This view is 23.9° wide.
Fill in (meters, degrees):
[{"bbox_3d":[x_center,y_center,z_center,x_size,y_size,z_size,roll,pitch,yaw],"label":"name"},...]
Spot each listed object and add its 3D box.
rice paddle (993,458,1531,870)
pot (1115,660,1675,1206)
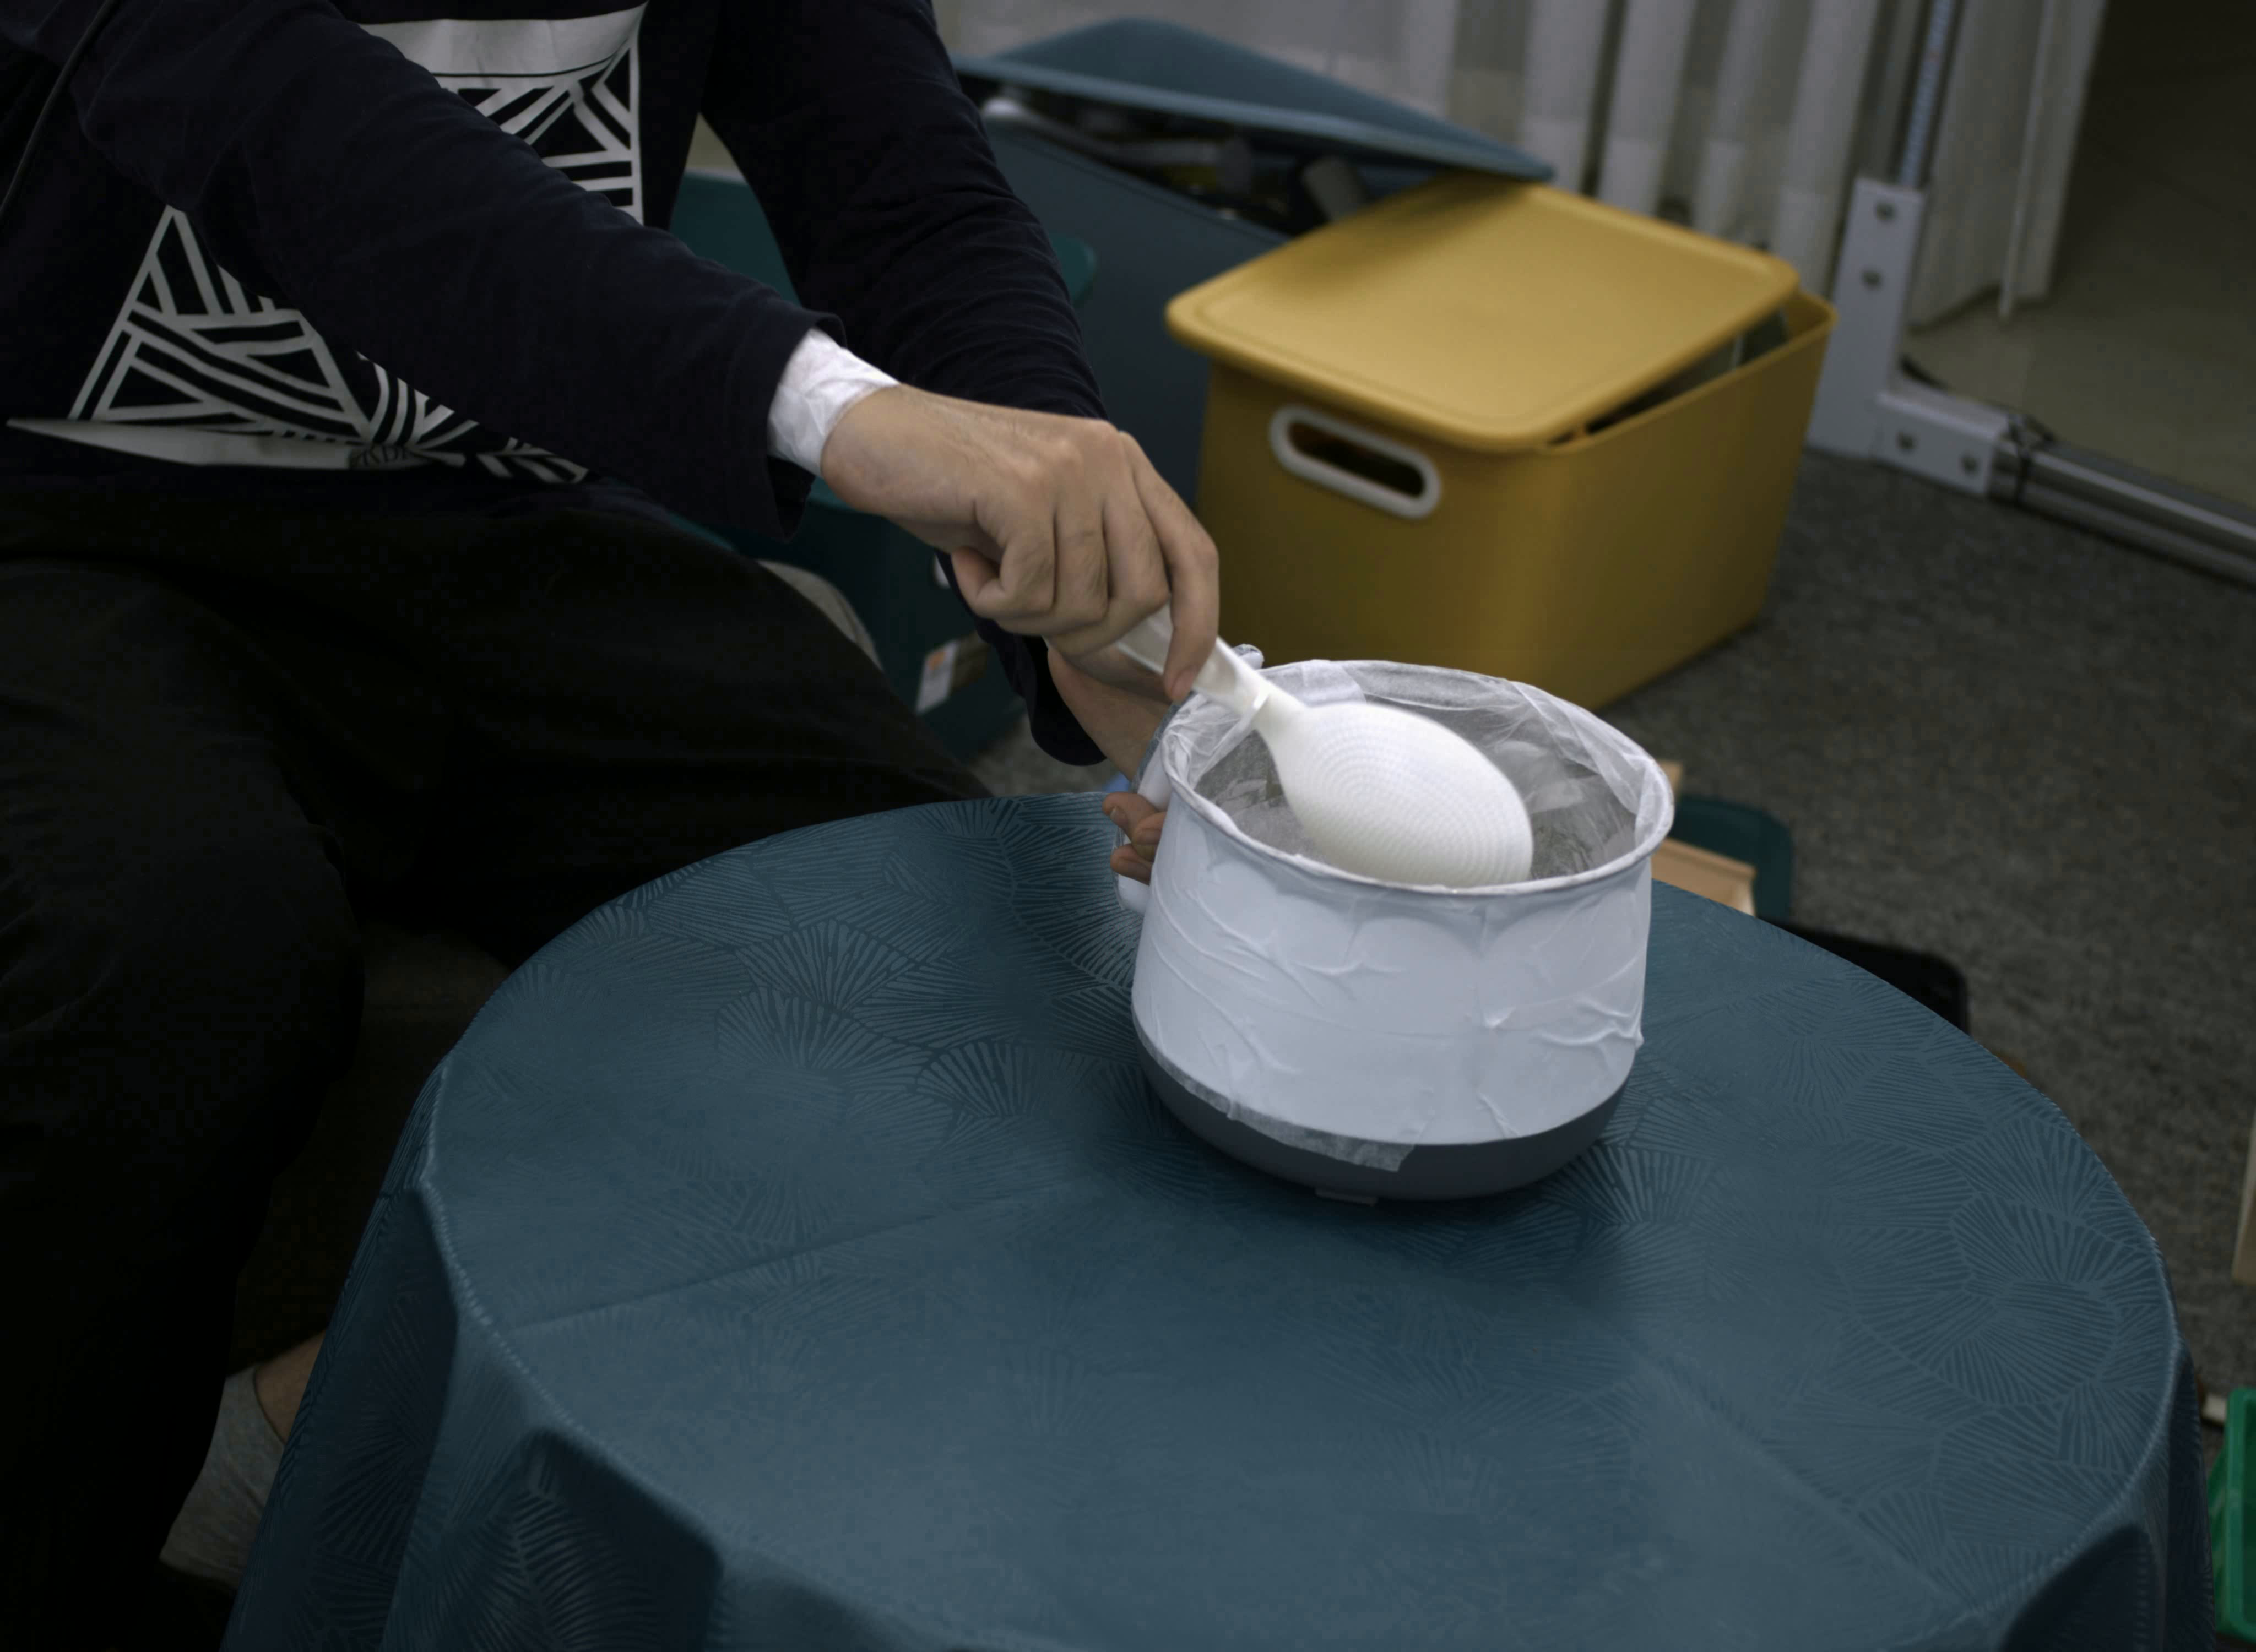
[{"bbox_3d":[0.047,-0.054,1.786,0.205,0.068,0.029,34,28,-1],"label":"rice paddle"},{"bbox_3d":[0.076,0.029,1.865,0.177,0.136,0.236,-11,30,-35],"label":"pot"}]
